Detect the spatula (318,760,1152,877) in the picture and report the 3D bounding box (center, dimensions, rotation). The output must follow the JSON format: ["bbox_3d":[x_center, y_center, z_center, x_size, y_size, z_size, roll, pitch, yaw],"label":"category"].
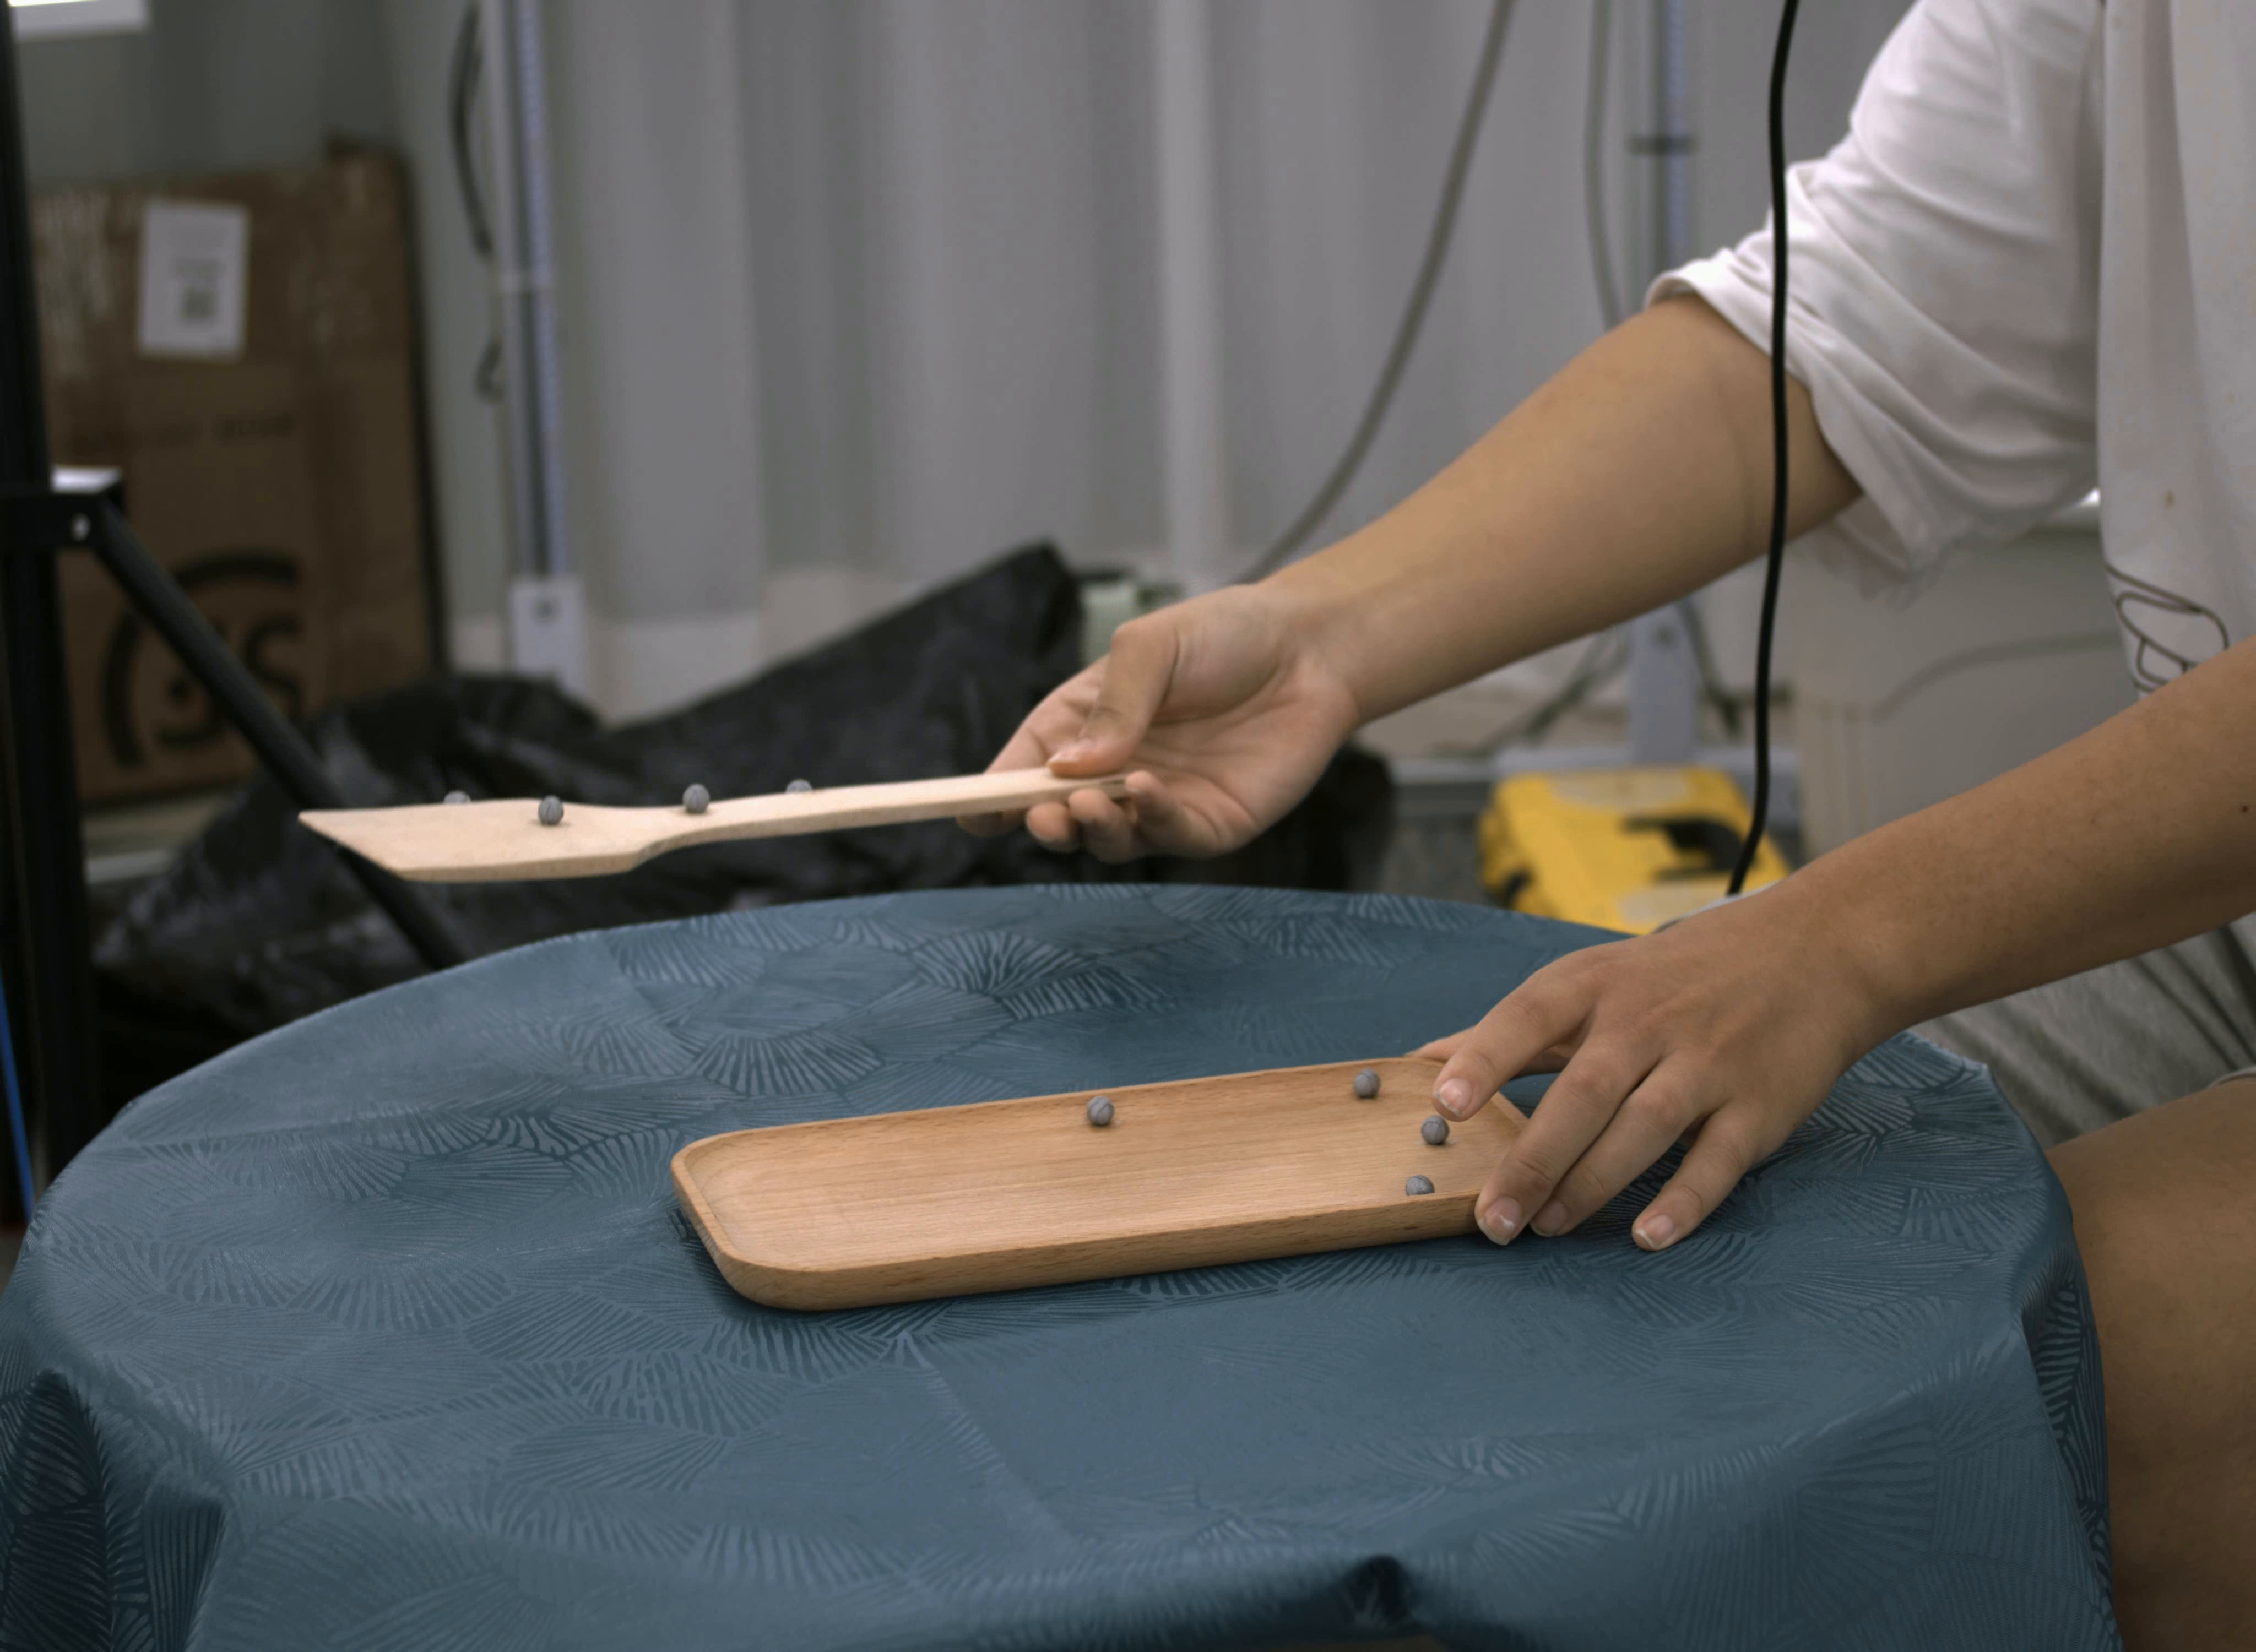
[{"bbox_3d":[-0.115,-0.005,1.699,0.286,0.010,0.074,-6,17,-33],"label":"spatula"}]

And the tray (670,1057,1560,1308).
[{"bbox_3d":[-0.004,0.103,1.549,0.247,0.023,0.132,-6,14,-10],"label":"tray"}]
